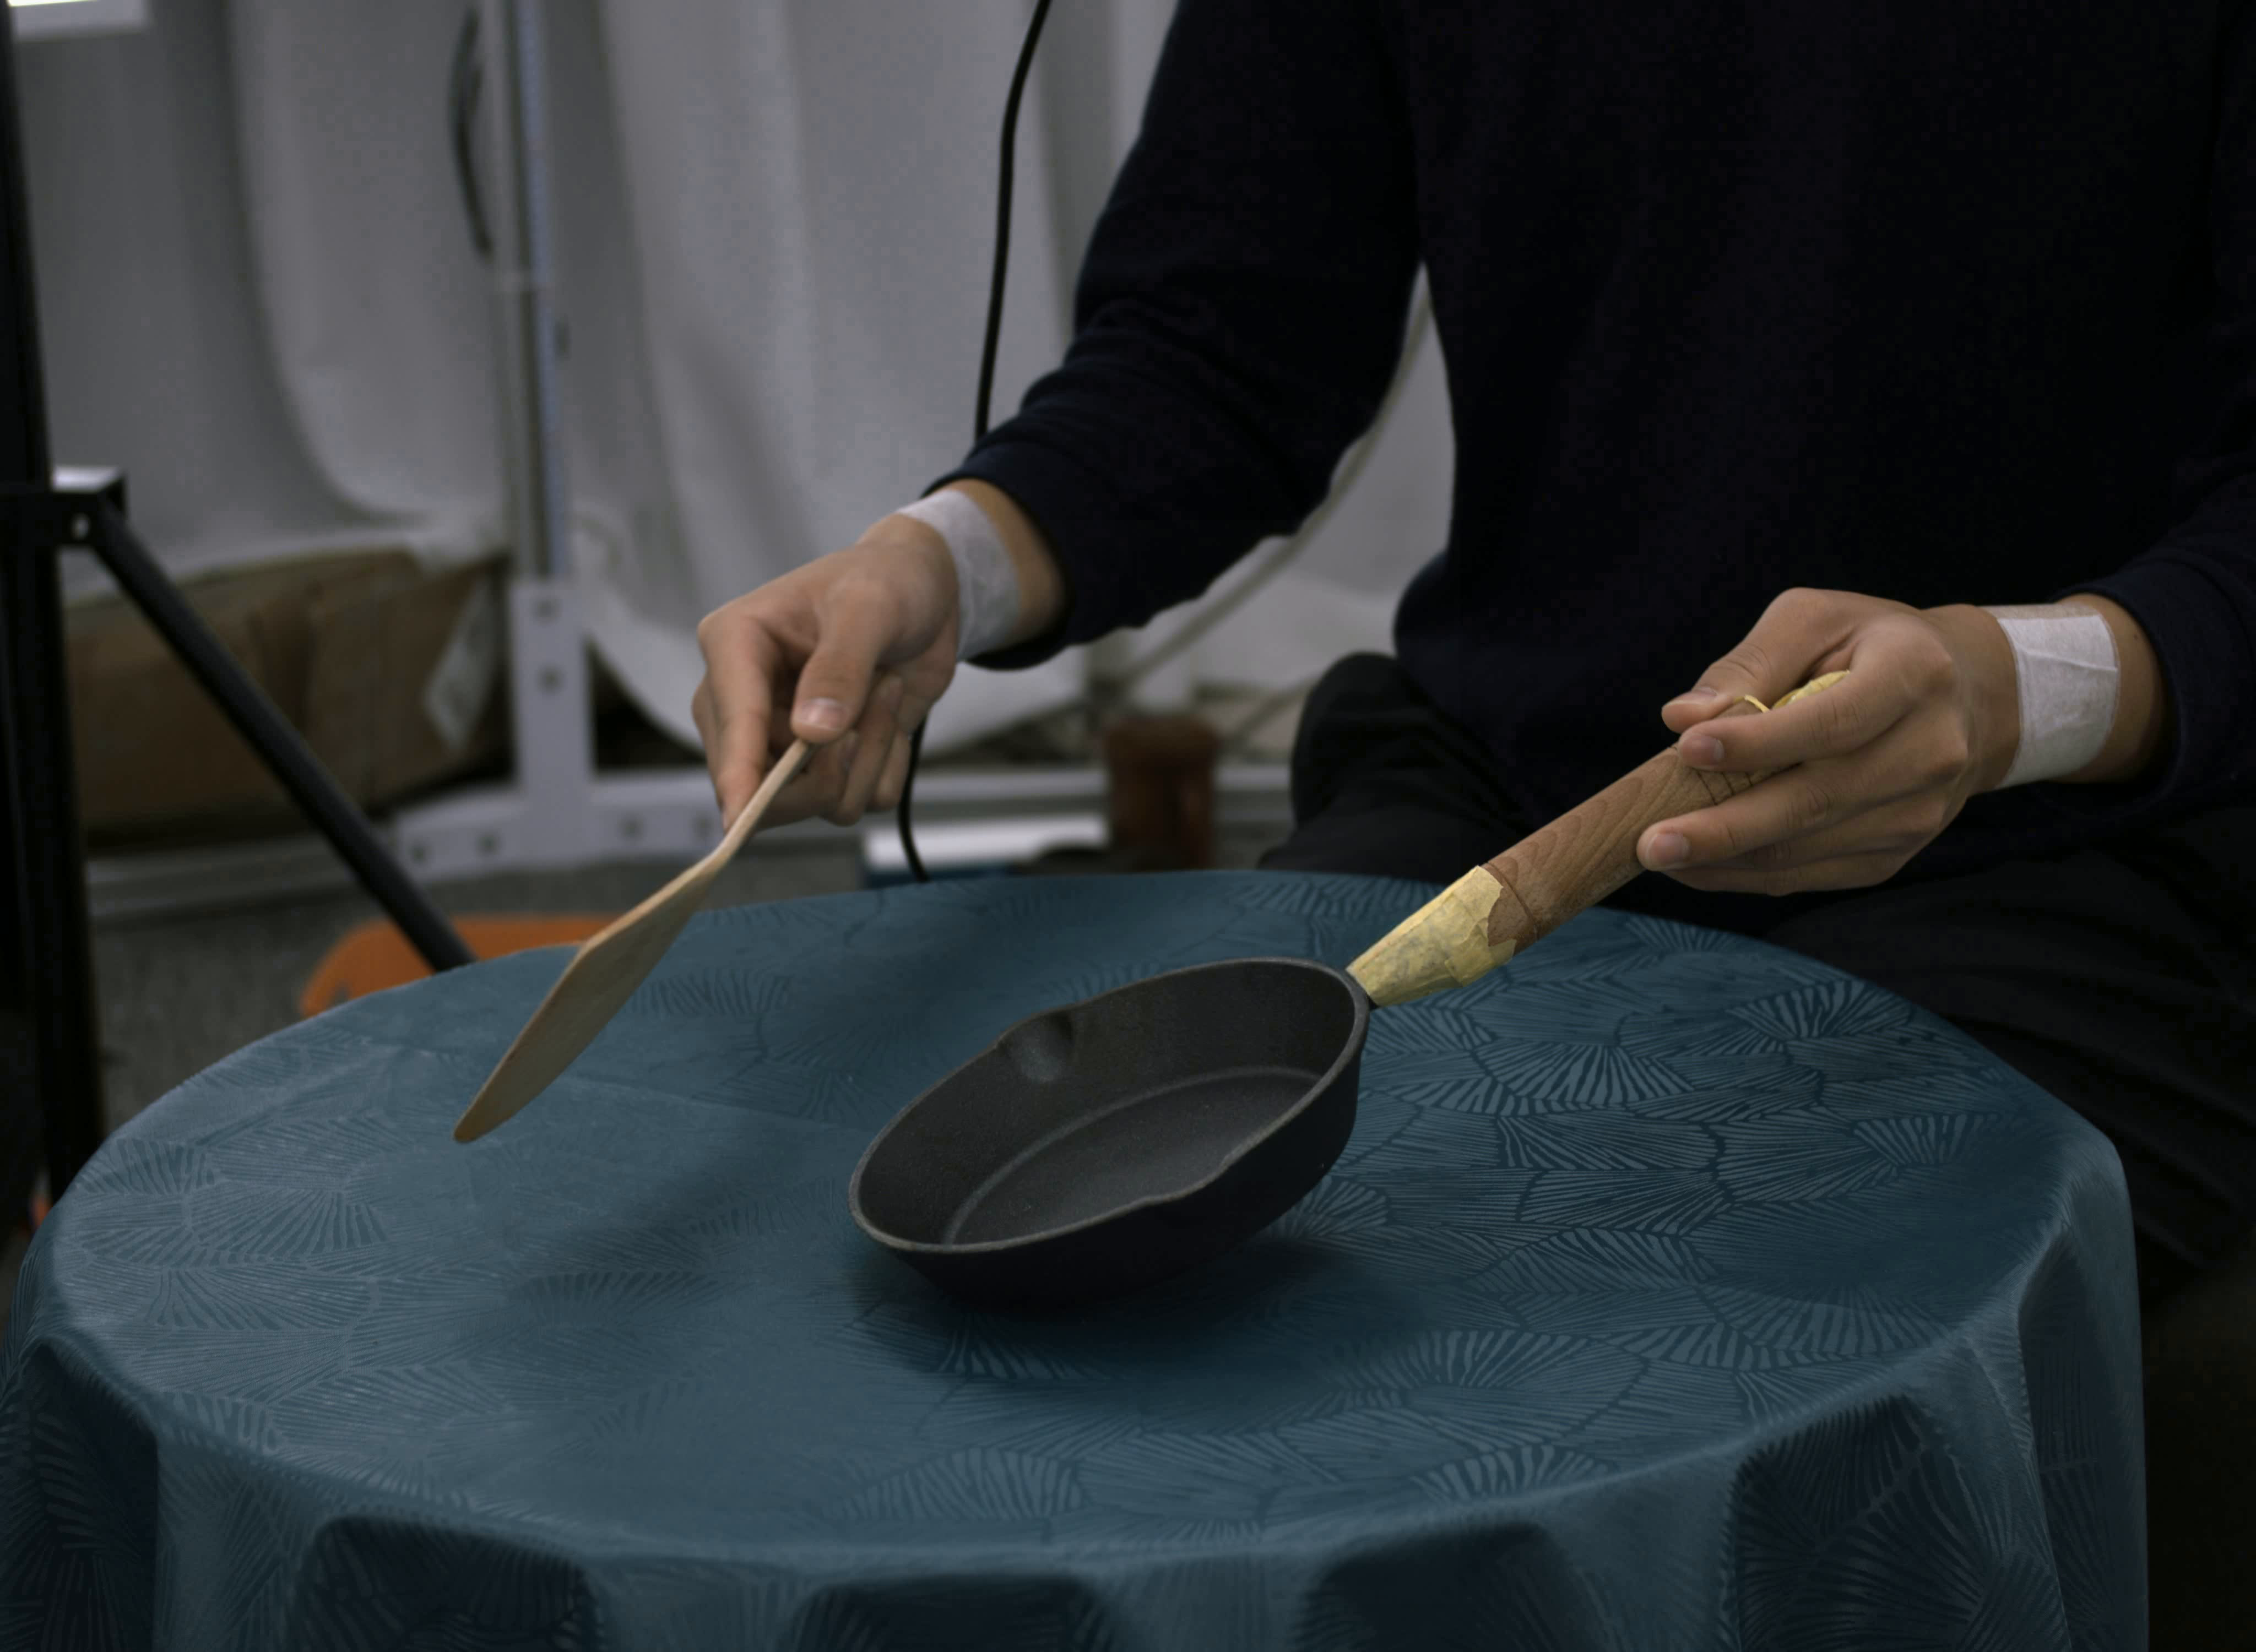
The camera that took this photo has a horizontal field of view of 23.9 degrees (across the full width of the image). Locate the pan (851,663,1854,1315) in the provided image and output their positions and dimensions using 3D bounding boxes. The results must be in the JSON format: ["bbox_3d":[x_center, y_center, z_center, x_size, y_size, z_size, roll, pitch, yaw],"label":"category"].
[{"bbox_3d":[0.071,0.045,1.497,0.322,0.049,0.171,-28,20,-6],"label":"pan"}]

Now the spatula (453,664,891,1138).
[{"bbox_3d":[-0.126,0.008,1.623,0.016,0.080,0.326,36,25,-1],"label":"spatula"}]
